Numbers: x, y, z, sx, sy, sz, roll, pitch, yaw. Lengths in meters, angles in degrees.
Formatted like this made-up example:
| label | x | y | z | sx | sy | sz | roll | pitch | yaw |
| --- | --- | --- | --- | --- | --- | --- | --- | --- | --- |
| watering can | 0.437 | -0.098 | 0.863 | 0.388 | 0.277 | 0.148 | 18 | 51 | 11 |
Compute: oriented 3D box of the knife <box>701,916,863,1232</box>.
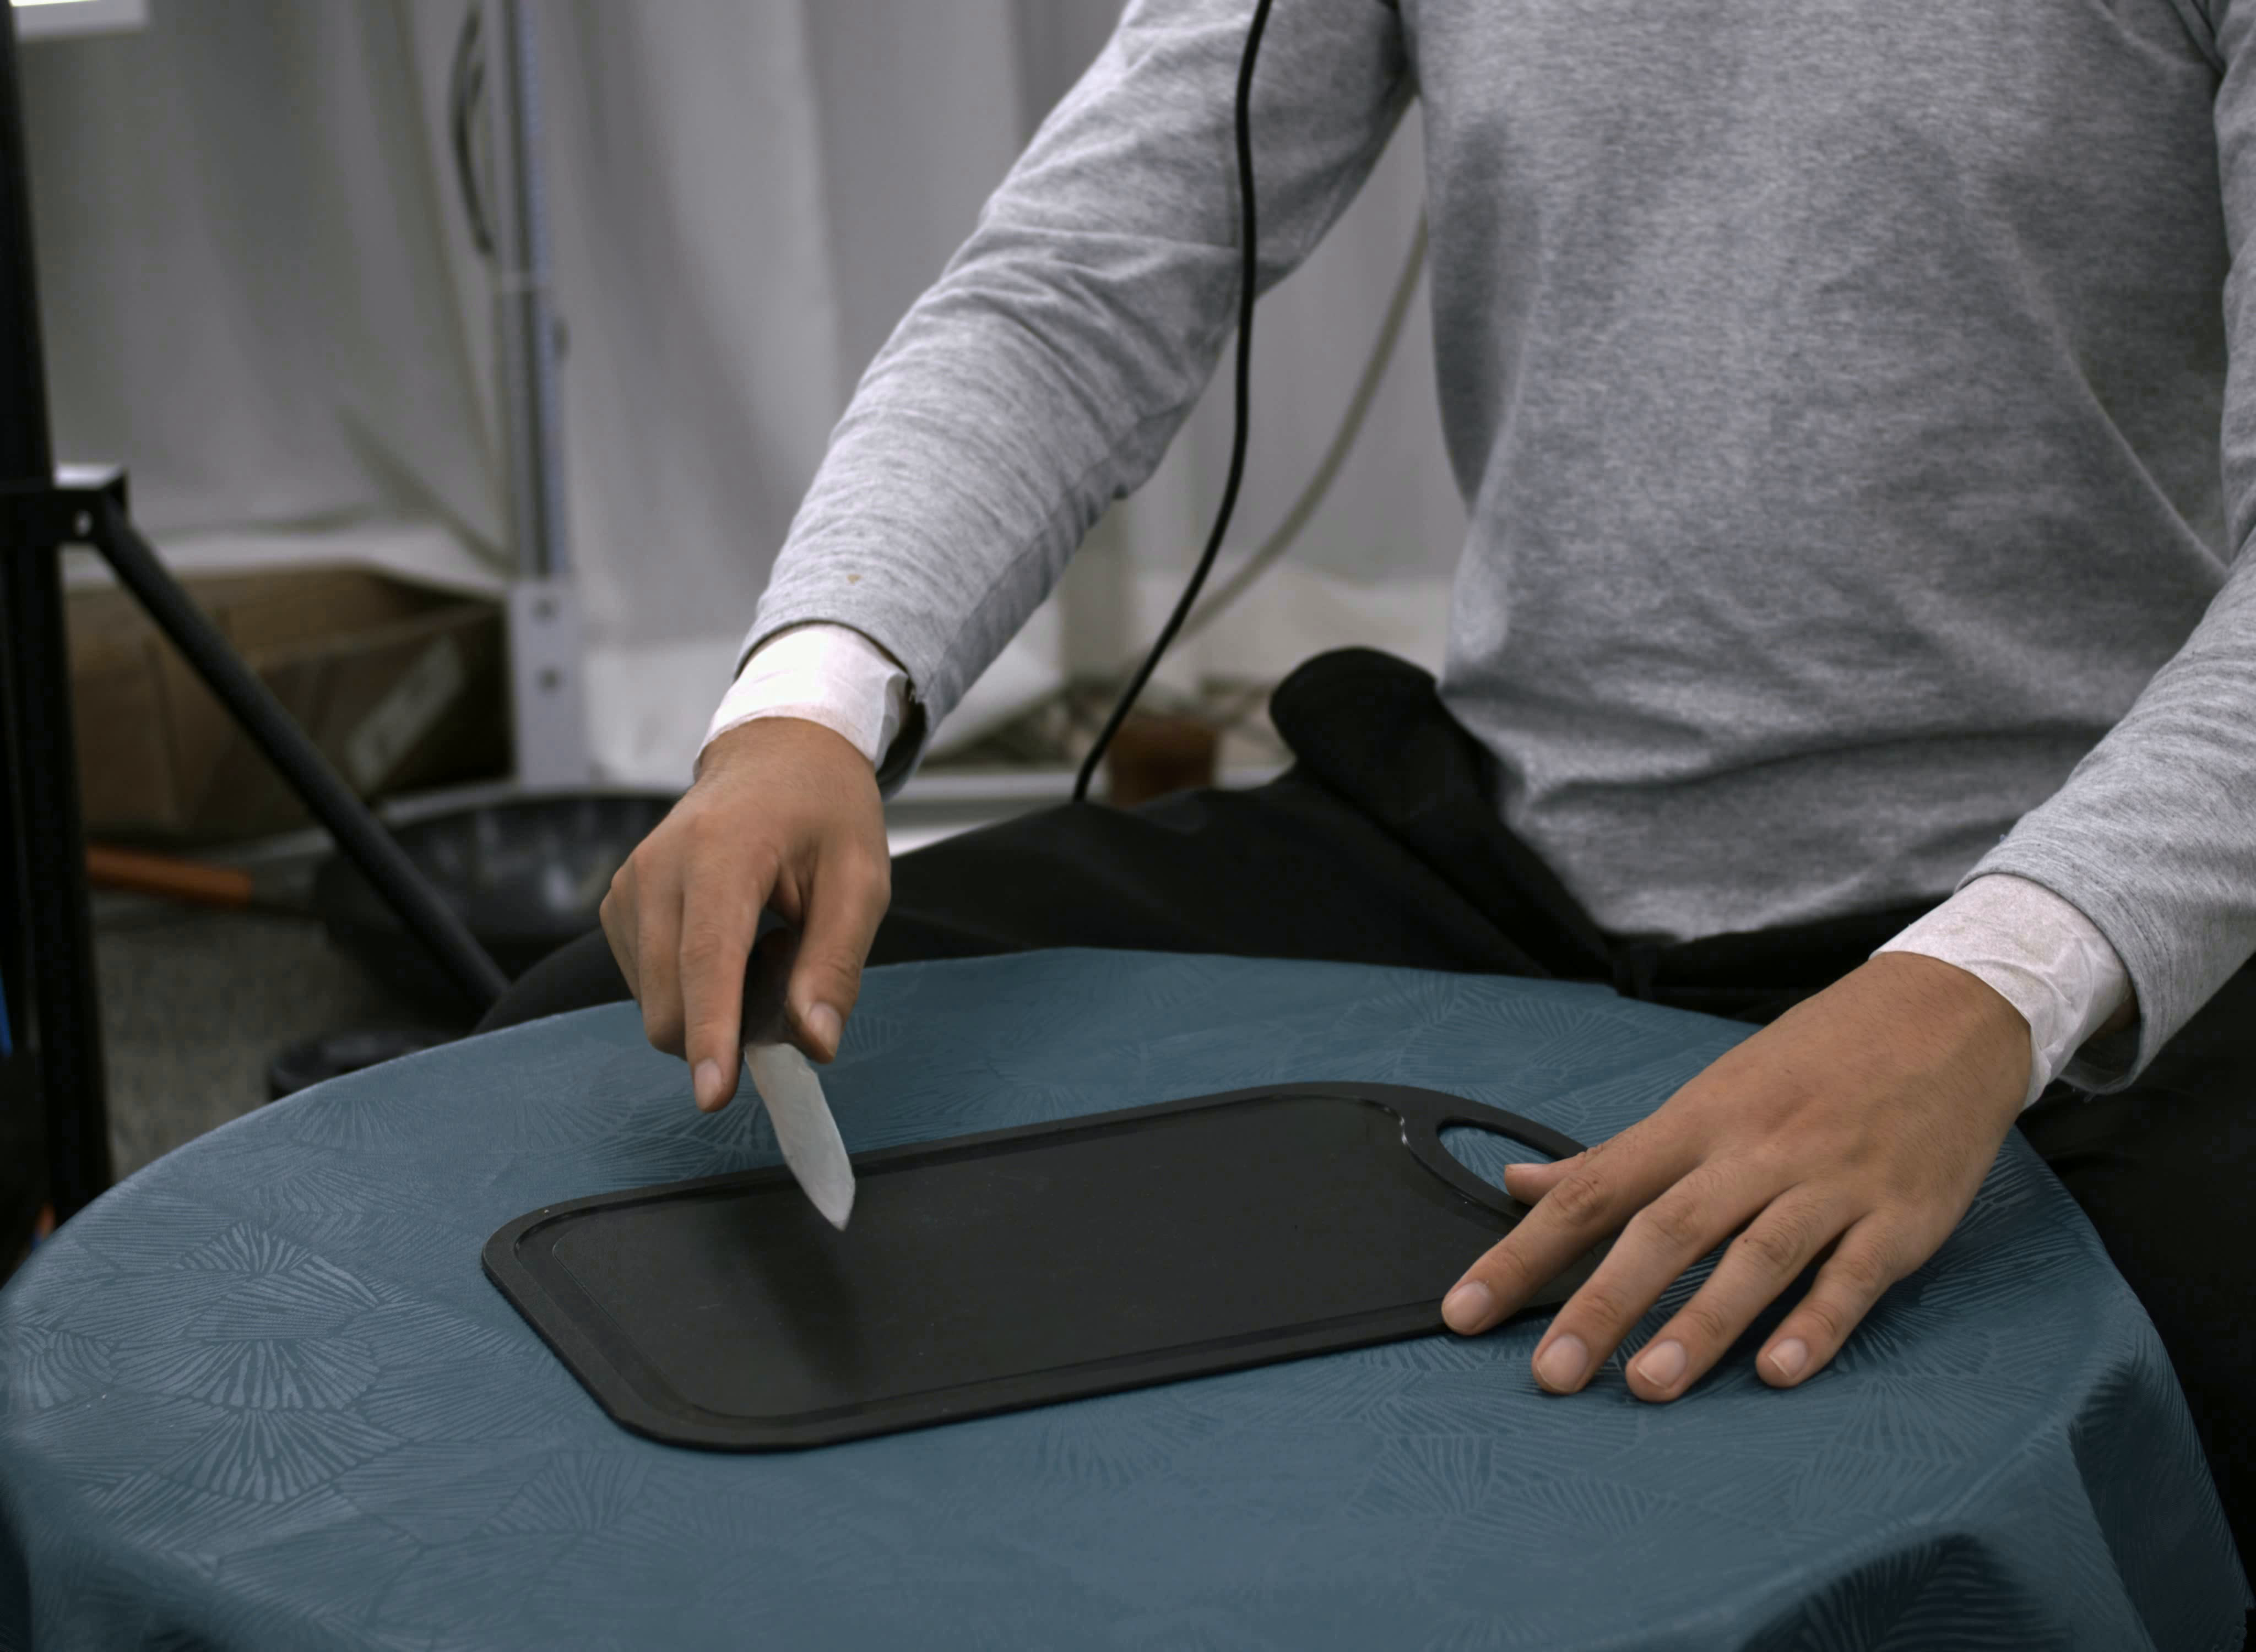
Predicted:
| label | x | y | z | sx | sy | sz | roll | pitch | yaw |
| --- | --- | --- | --- | --- | --- | --- | --- | --- | --- |
| knife | -0.101 | 0.071 | 1.541 | 0.024 | 0.016 | 0.241 | 9 | 16 | -15 |

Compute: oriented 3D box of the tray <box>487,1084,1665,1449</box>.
| label | x | y | z | sx | sy | sz | roll | pitch | yaw |
| --- | --- | --- | --- | --- | --- | --- | --- | --- | --- |
| tray | -0.010 | 0.119 | 1.515 | 0.319 | 0.010 | 0.215 | -8 | 17 | -19 |
